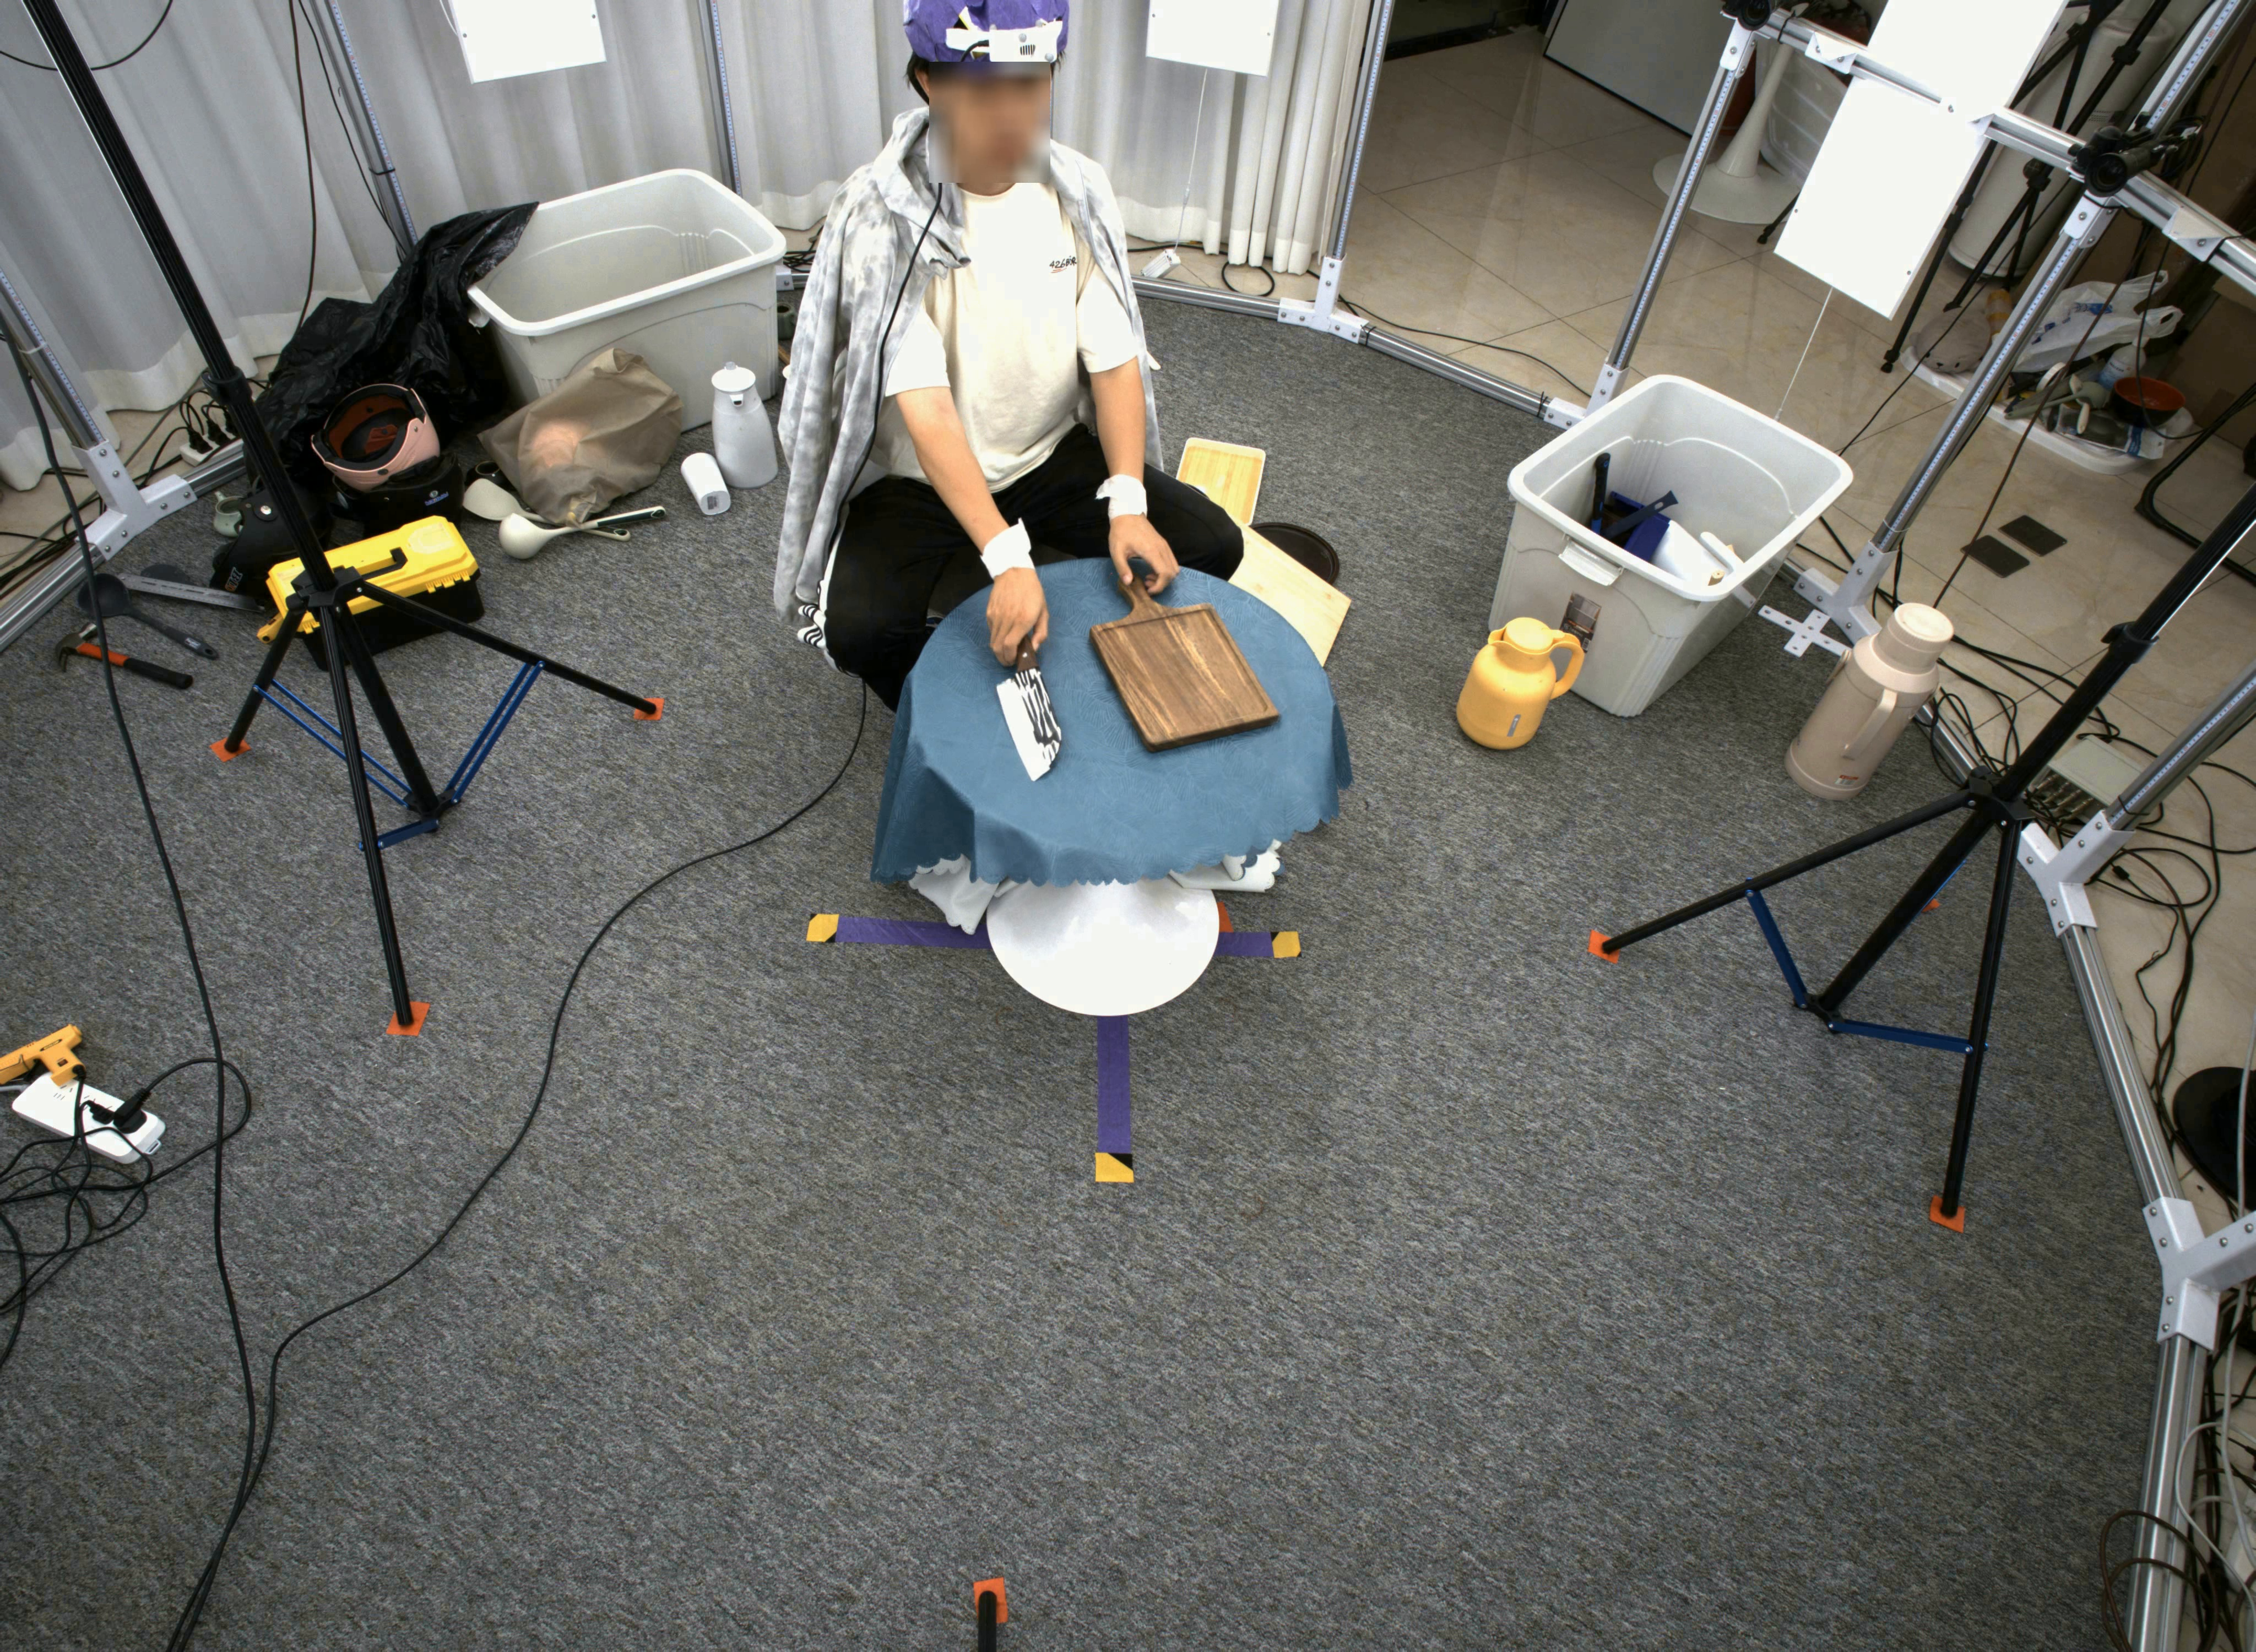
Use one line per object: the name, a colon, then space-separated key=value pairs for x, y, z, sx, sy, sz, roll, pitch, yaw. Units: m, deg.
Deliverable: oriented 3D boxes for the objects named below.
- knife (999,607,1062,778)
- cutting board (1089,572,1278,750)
knife: x=-0.144 y=-0.190 z=1.790 sx=0.068 sy=0.023 sz=0.307 roll=-22 pitch=54 yaw=6
cutting board: x=0.060 y=-0.257 z=1.875 sx=0.201 sy=0.022 sz=0.360 roll=-14 pitch=51 yaw=-15
